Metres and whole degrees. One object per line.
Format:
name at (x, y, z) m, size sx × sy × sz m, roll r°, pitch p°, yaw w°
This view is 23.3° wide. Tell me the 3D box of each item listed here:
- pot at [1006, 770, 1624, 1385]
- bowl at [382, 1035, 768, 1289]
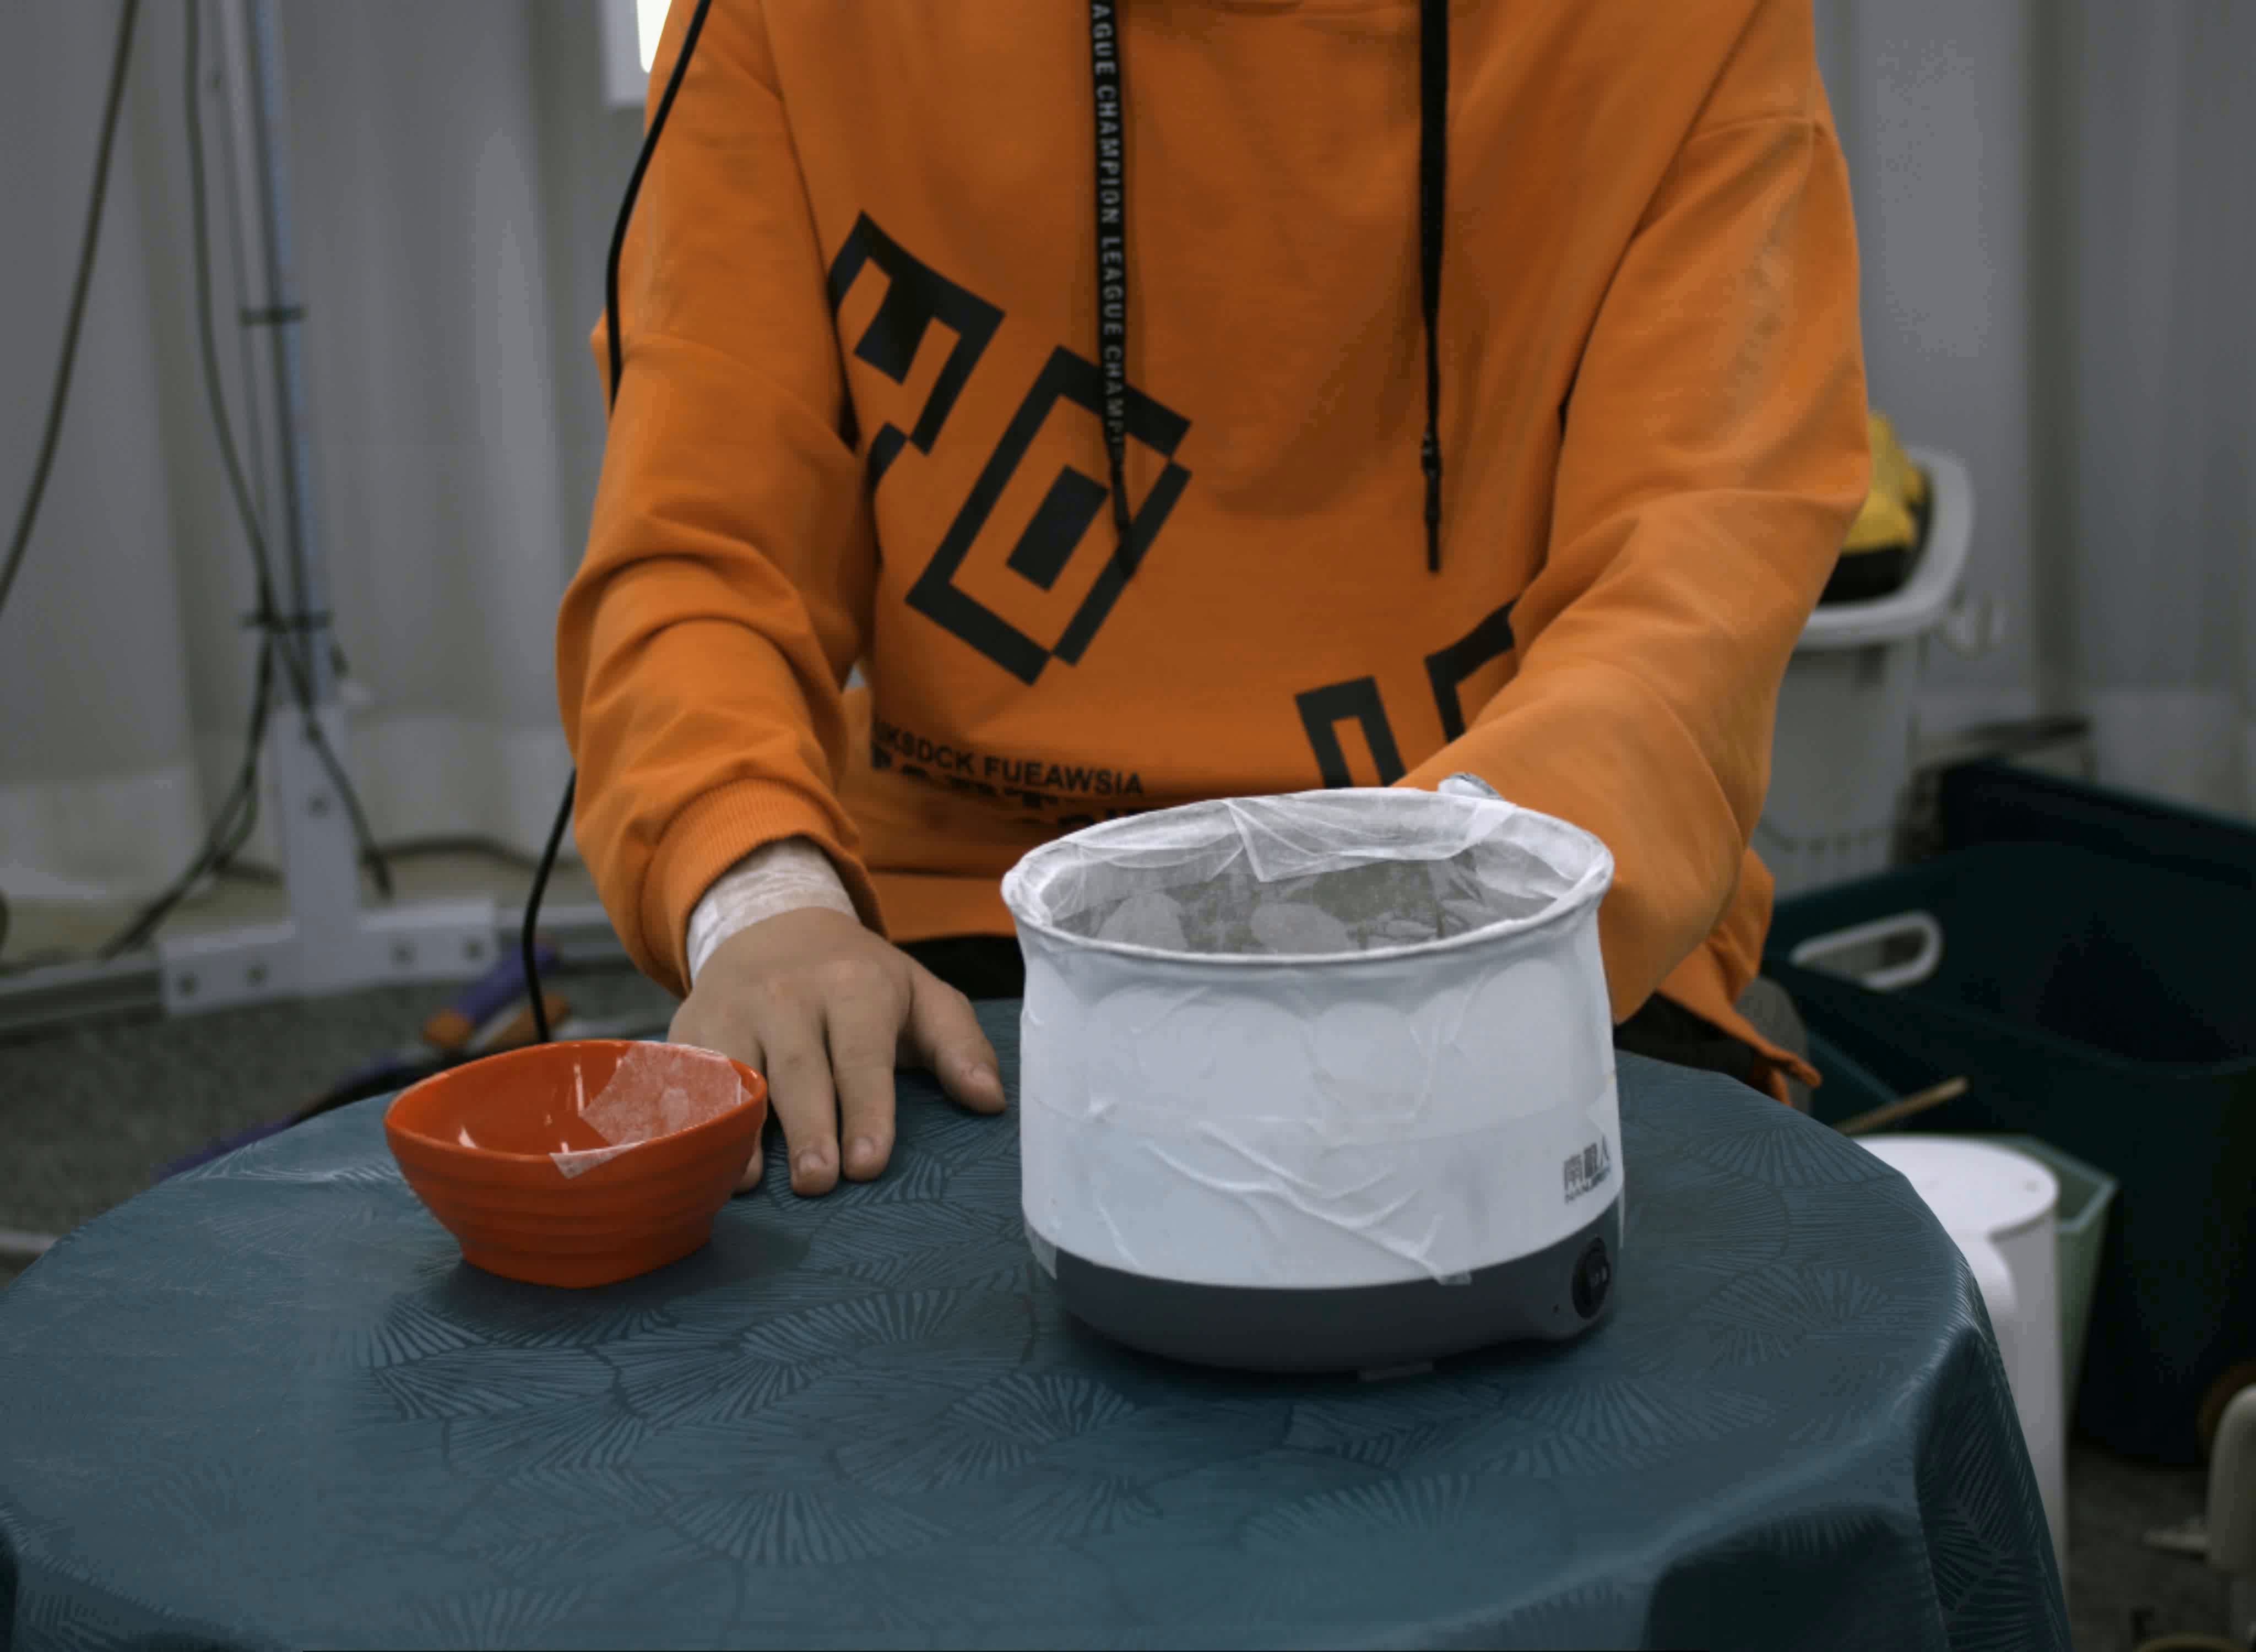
pot at (0.068, 0.067, 1.616) m, size 0.179 × 0.136 × 0.234 m, roll 6°, pitch 17°, yaw 28°
bowl at (-0.168, 0.106, 1.683) m, size 0.118 × 0.051 × 0.120 m, roll -4°, pitch 15°, yaw 1°
